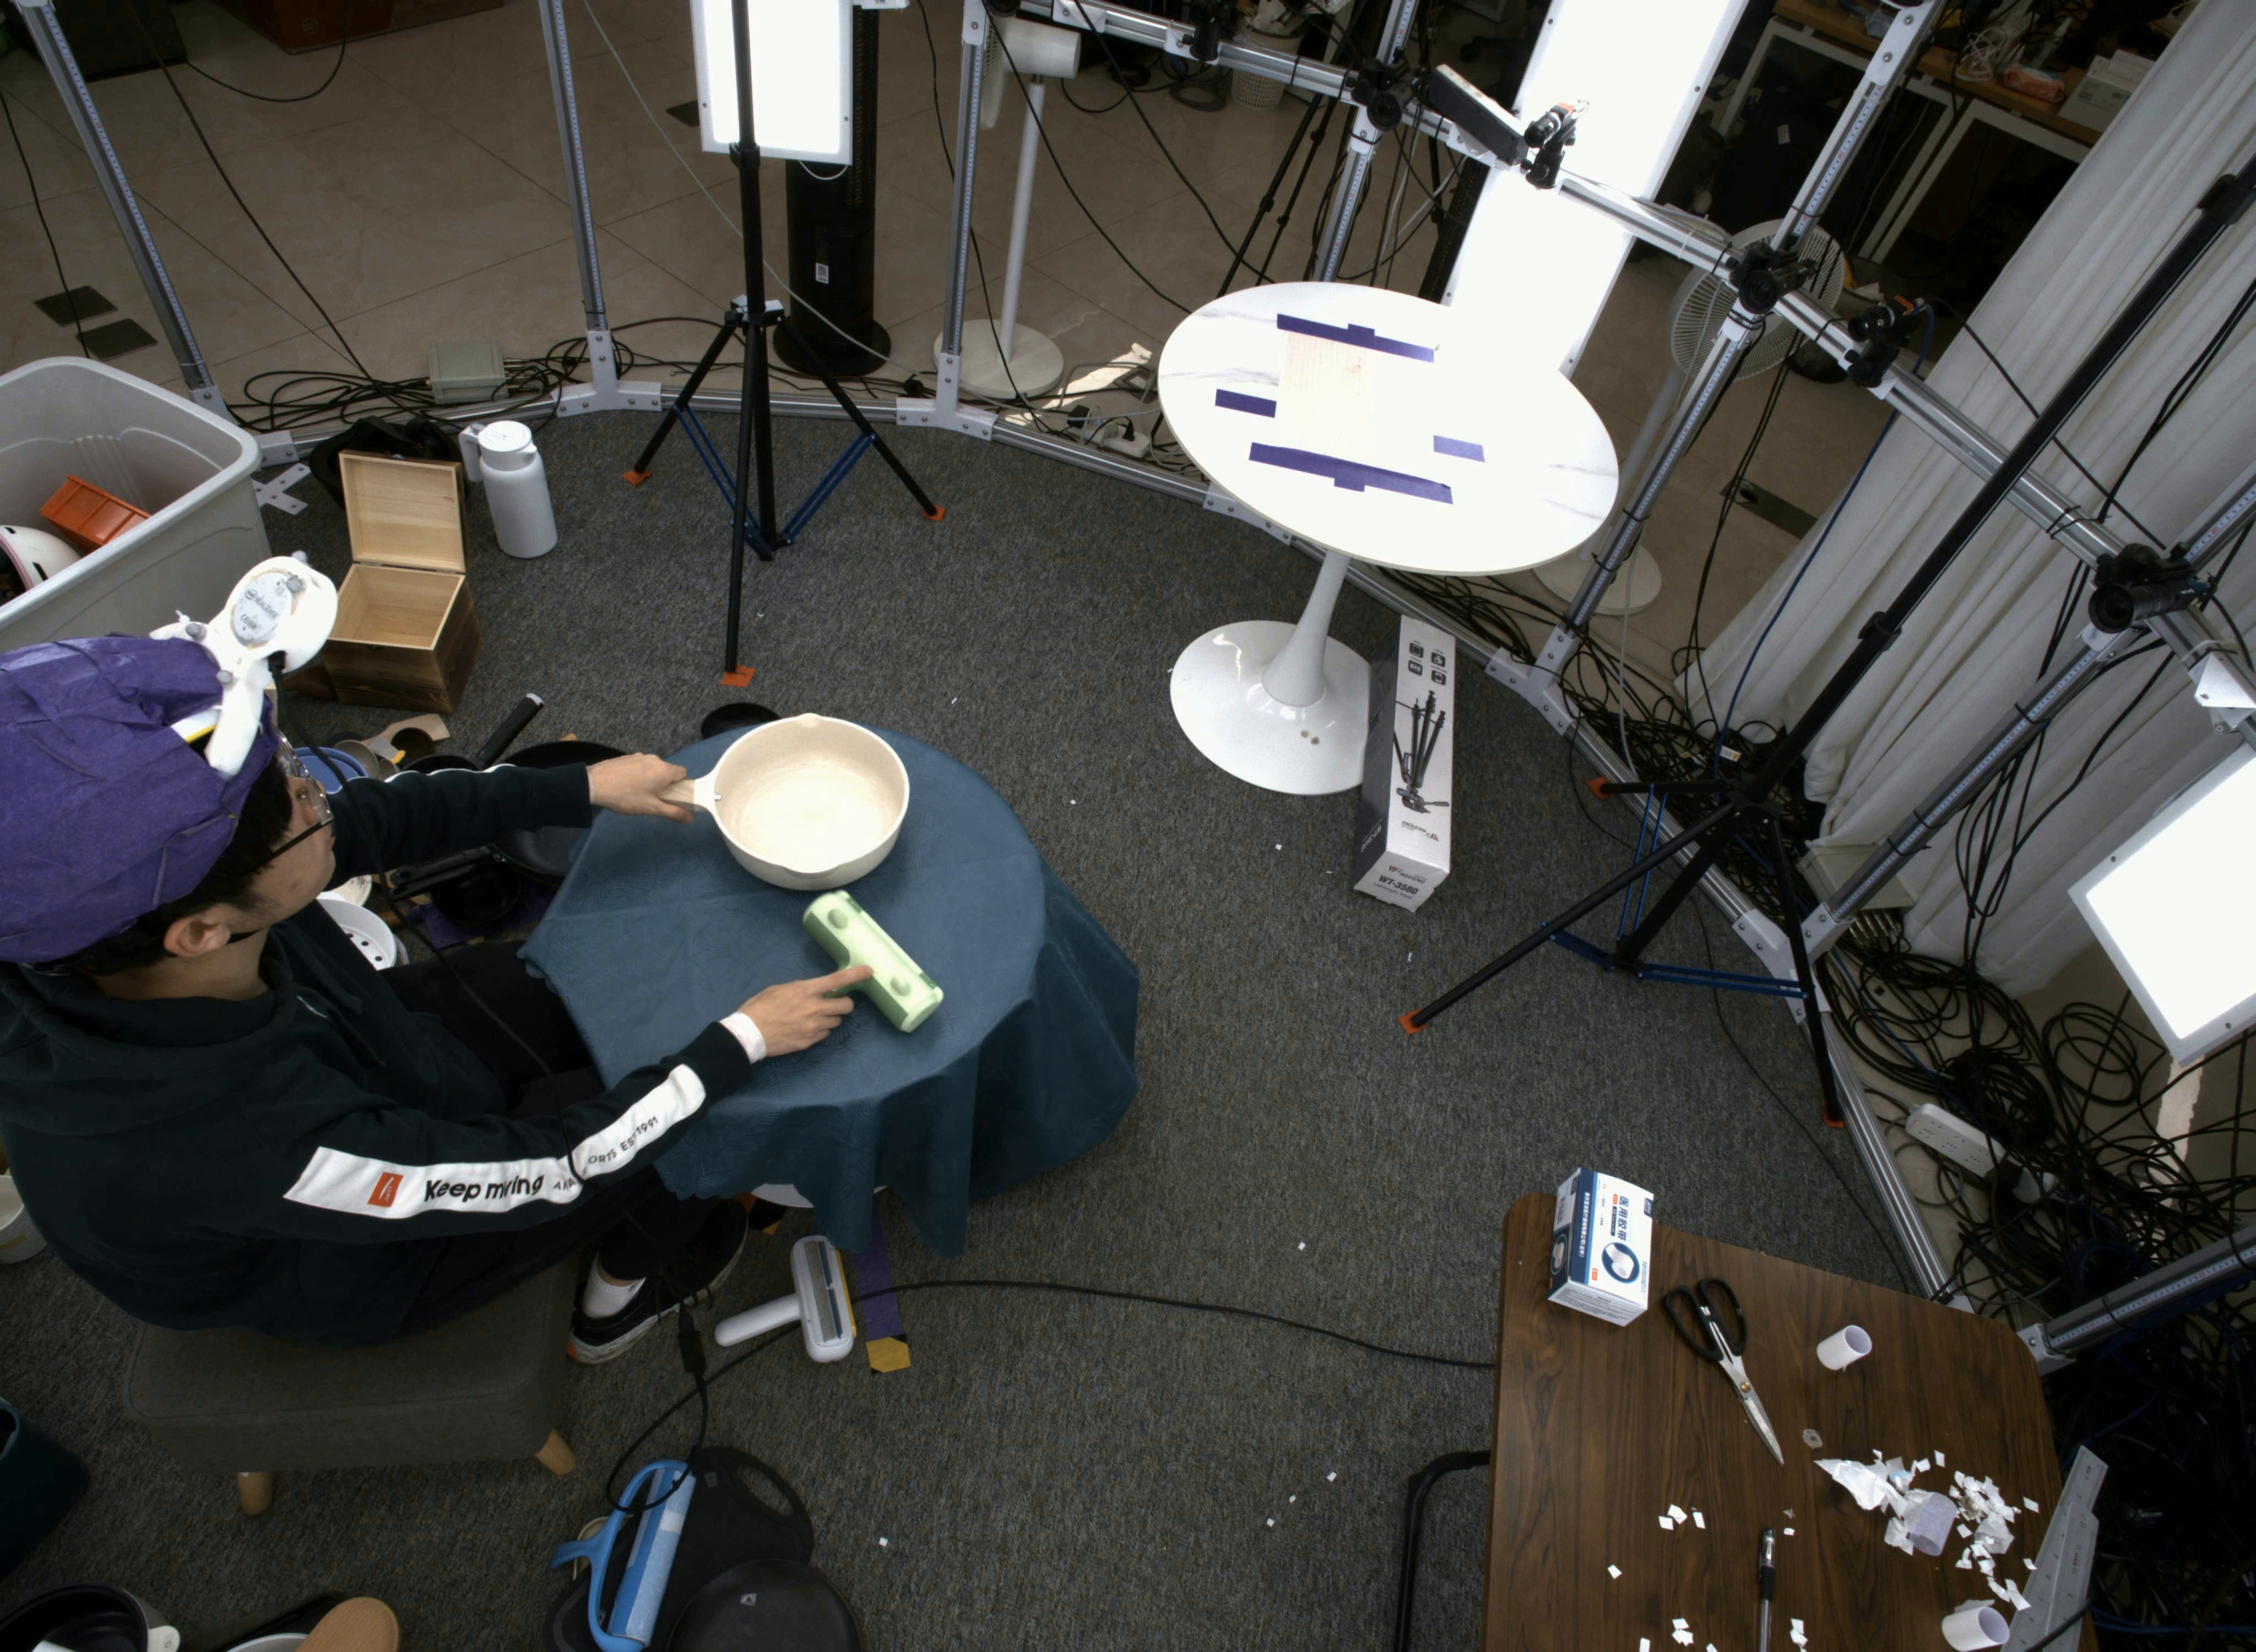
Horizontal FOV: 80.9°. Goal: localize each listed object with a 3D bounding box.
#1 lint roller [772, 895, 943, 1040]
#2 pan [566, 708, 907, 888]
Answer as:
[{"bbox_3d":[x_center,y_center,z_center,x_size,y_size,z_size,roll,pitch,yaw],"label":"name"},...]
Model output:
[{"bbox_3d":[-0.348,0.184,1.550,0.195,0.083,0.184,43,48,14],"label":"lint roller"},{"bbox_3d":[-0.504,-0.030,1.667,0.436,0.104,0.258,-2,56,-15],"label":"pan"}]
